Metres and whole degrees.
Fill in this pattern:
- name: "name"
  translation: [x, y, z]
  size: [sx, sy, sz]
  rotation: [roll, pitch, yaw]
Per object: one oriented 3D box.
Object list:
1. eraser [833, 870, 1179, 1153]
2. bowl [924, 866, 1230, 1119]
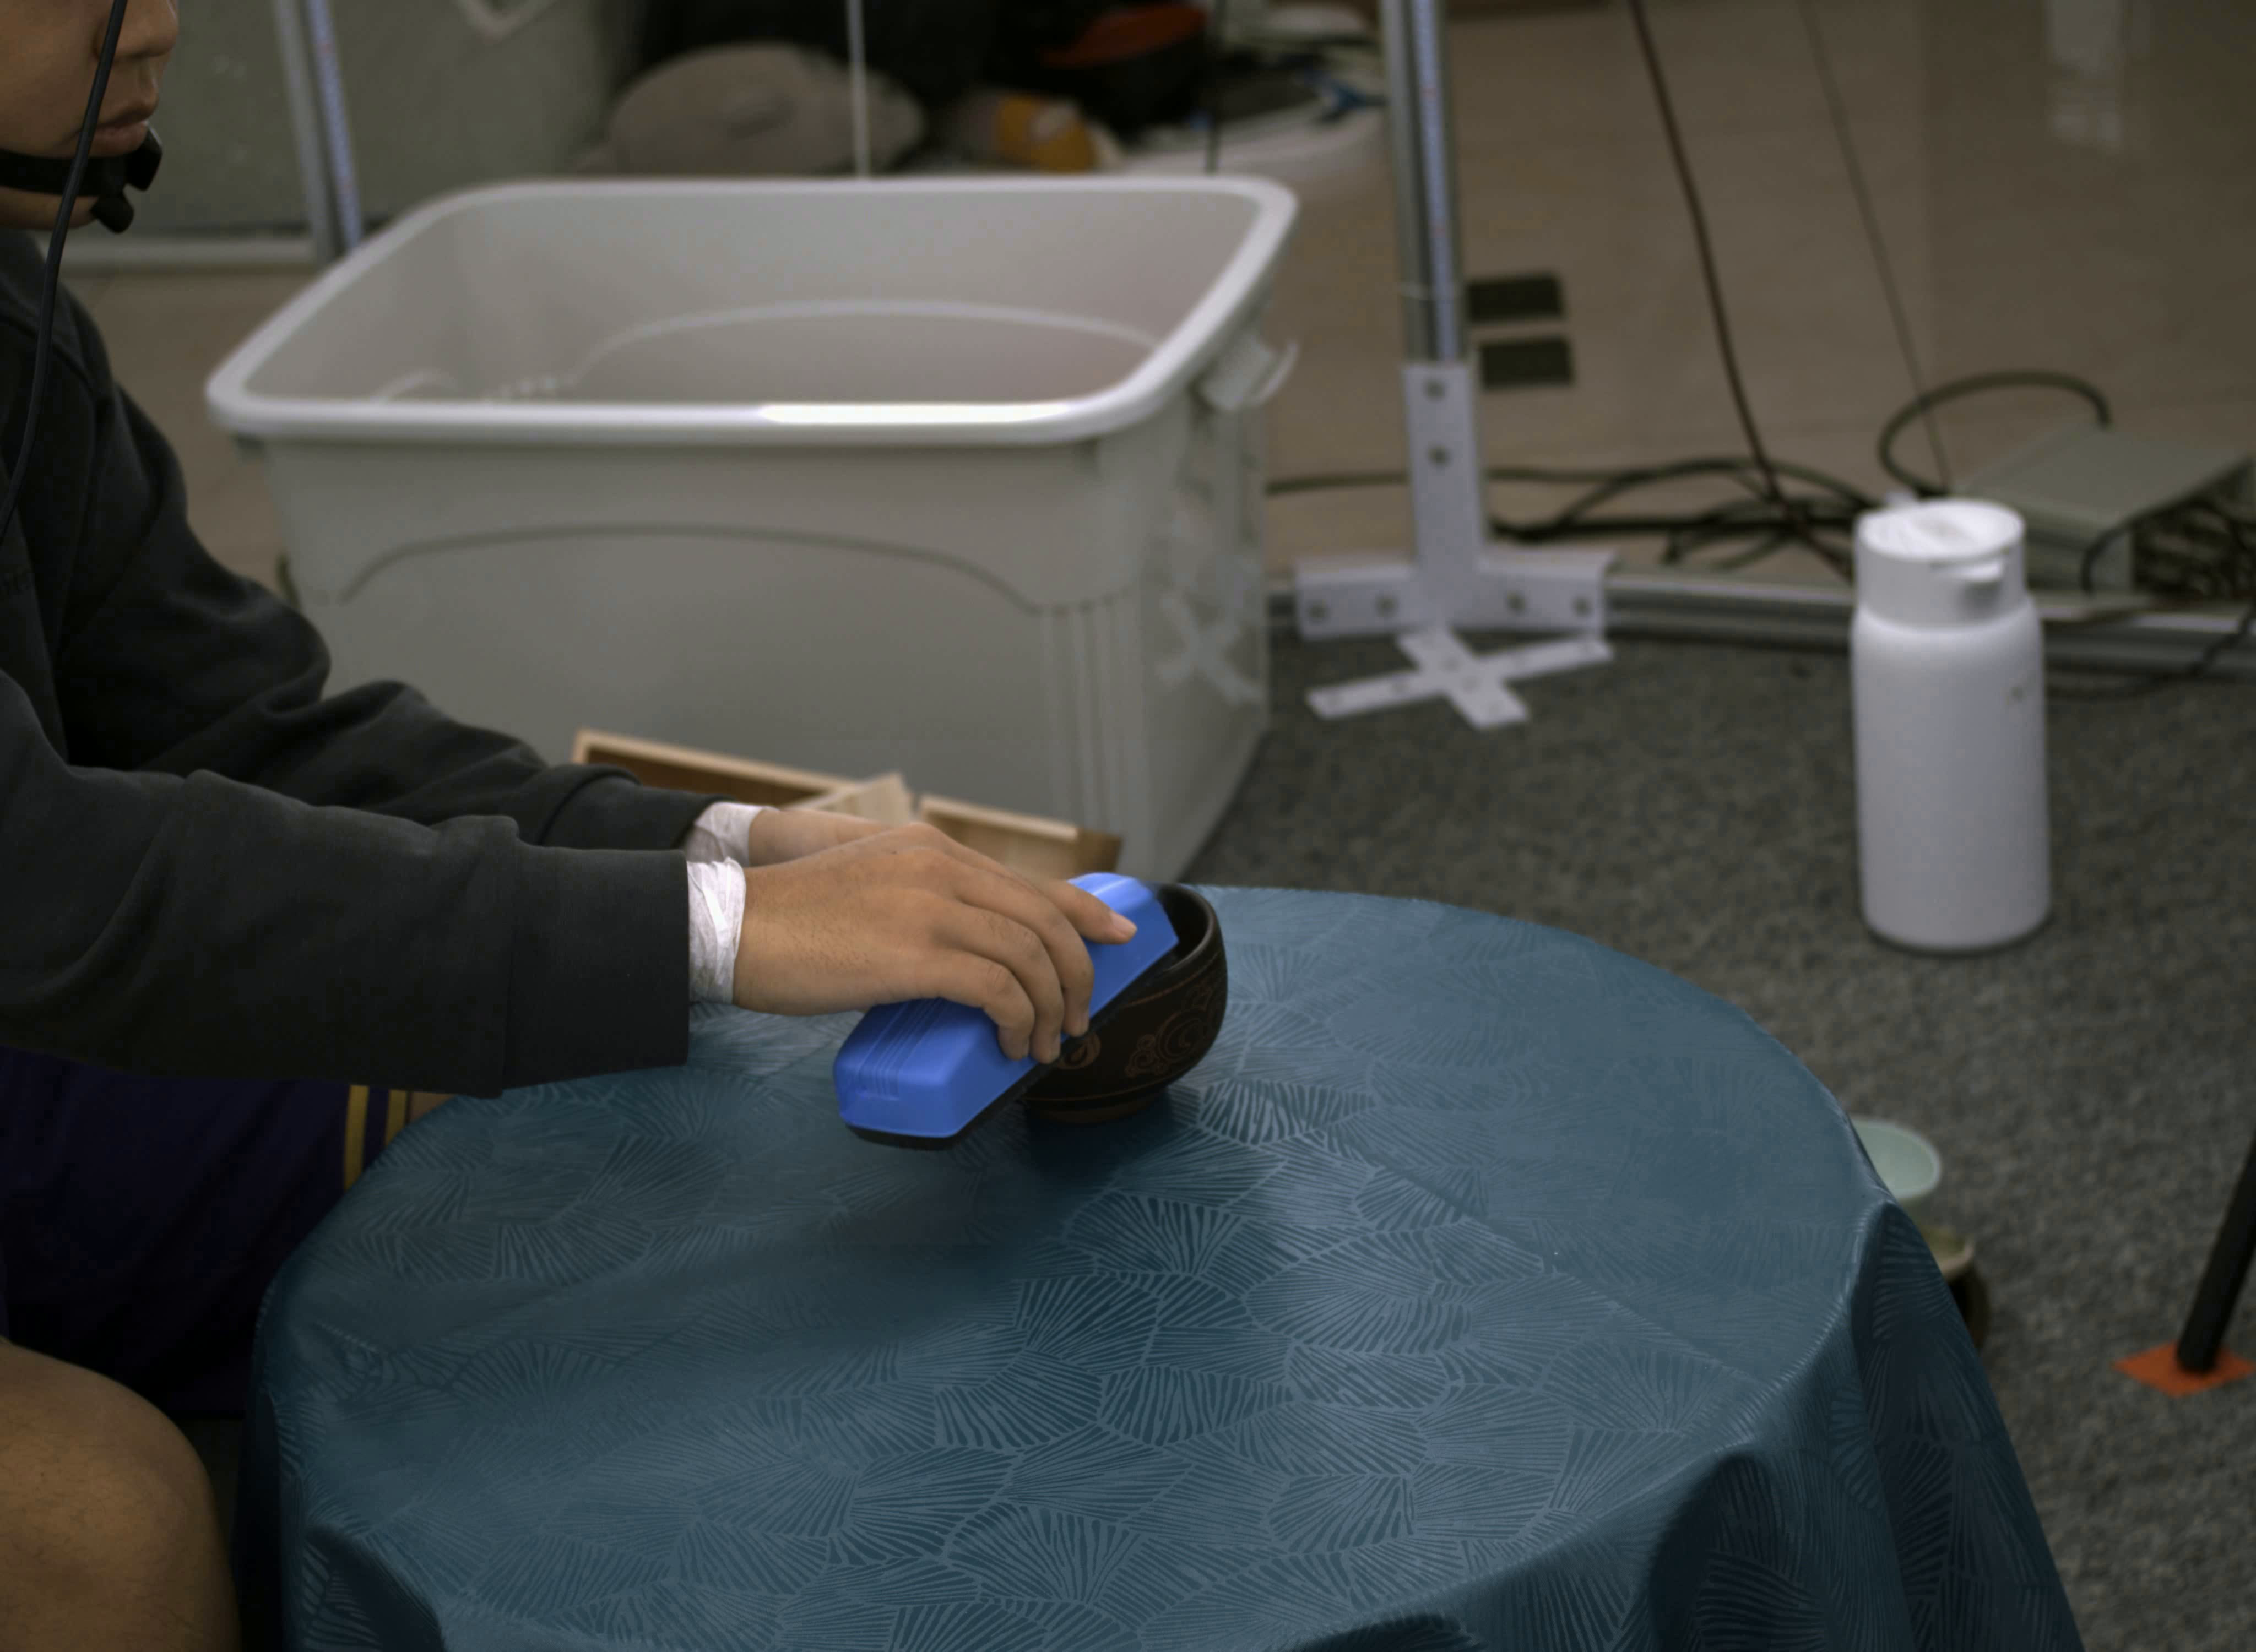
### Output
- name: "eraser"
  translation: [-0.045, 0.062, 2.107]
  size: [0.053, 0.048, 0.160]
  rotation: [13, 35, 32]
- name: "bowl"
  translation: [-0.018, 0.071, 2.208]
  size: [0.118, 0.071, 0.116]
  rotation: [-7, 25, 3]
